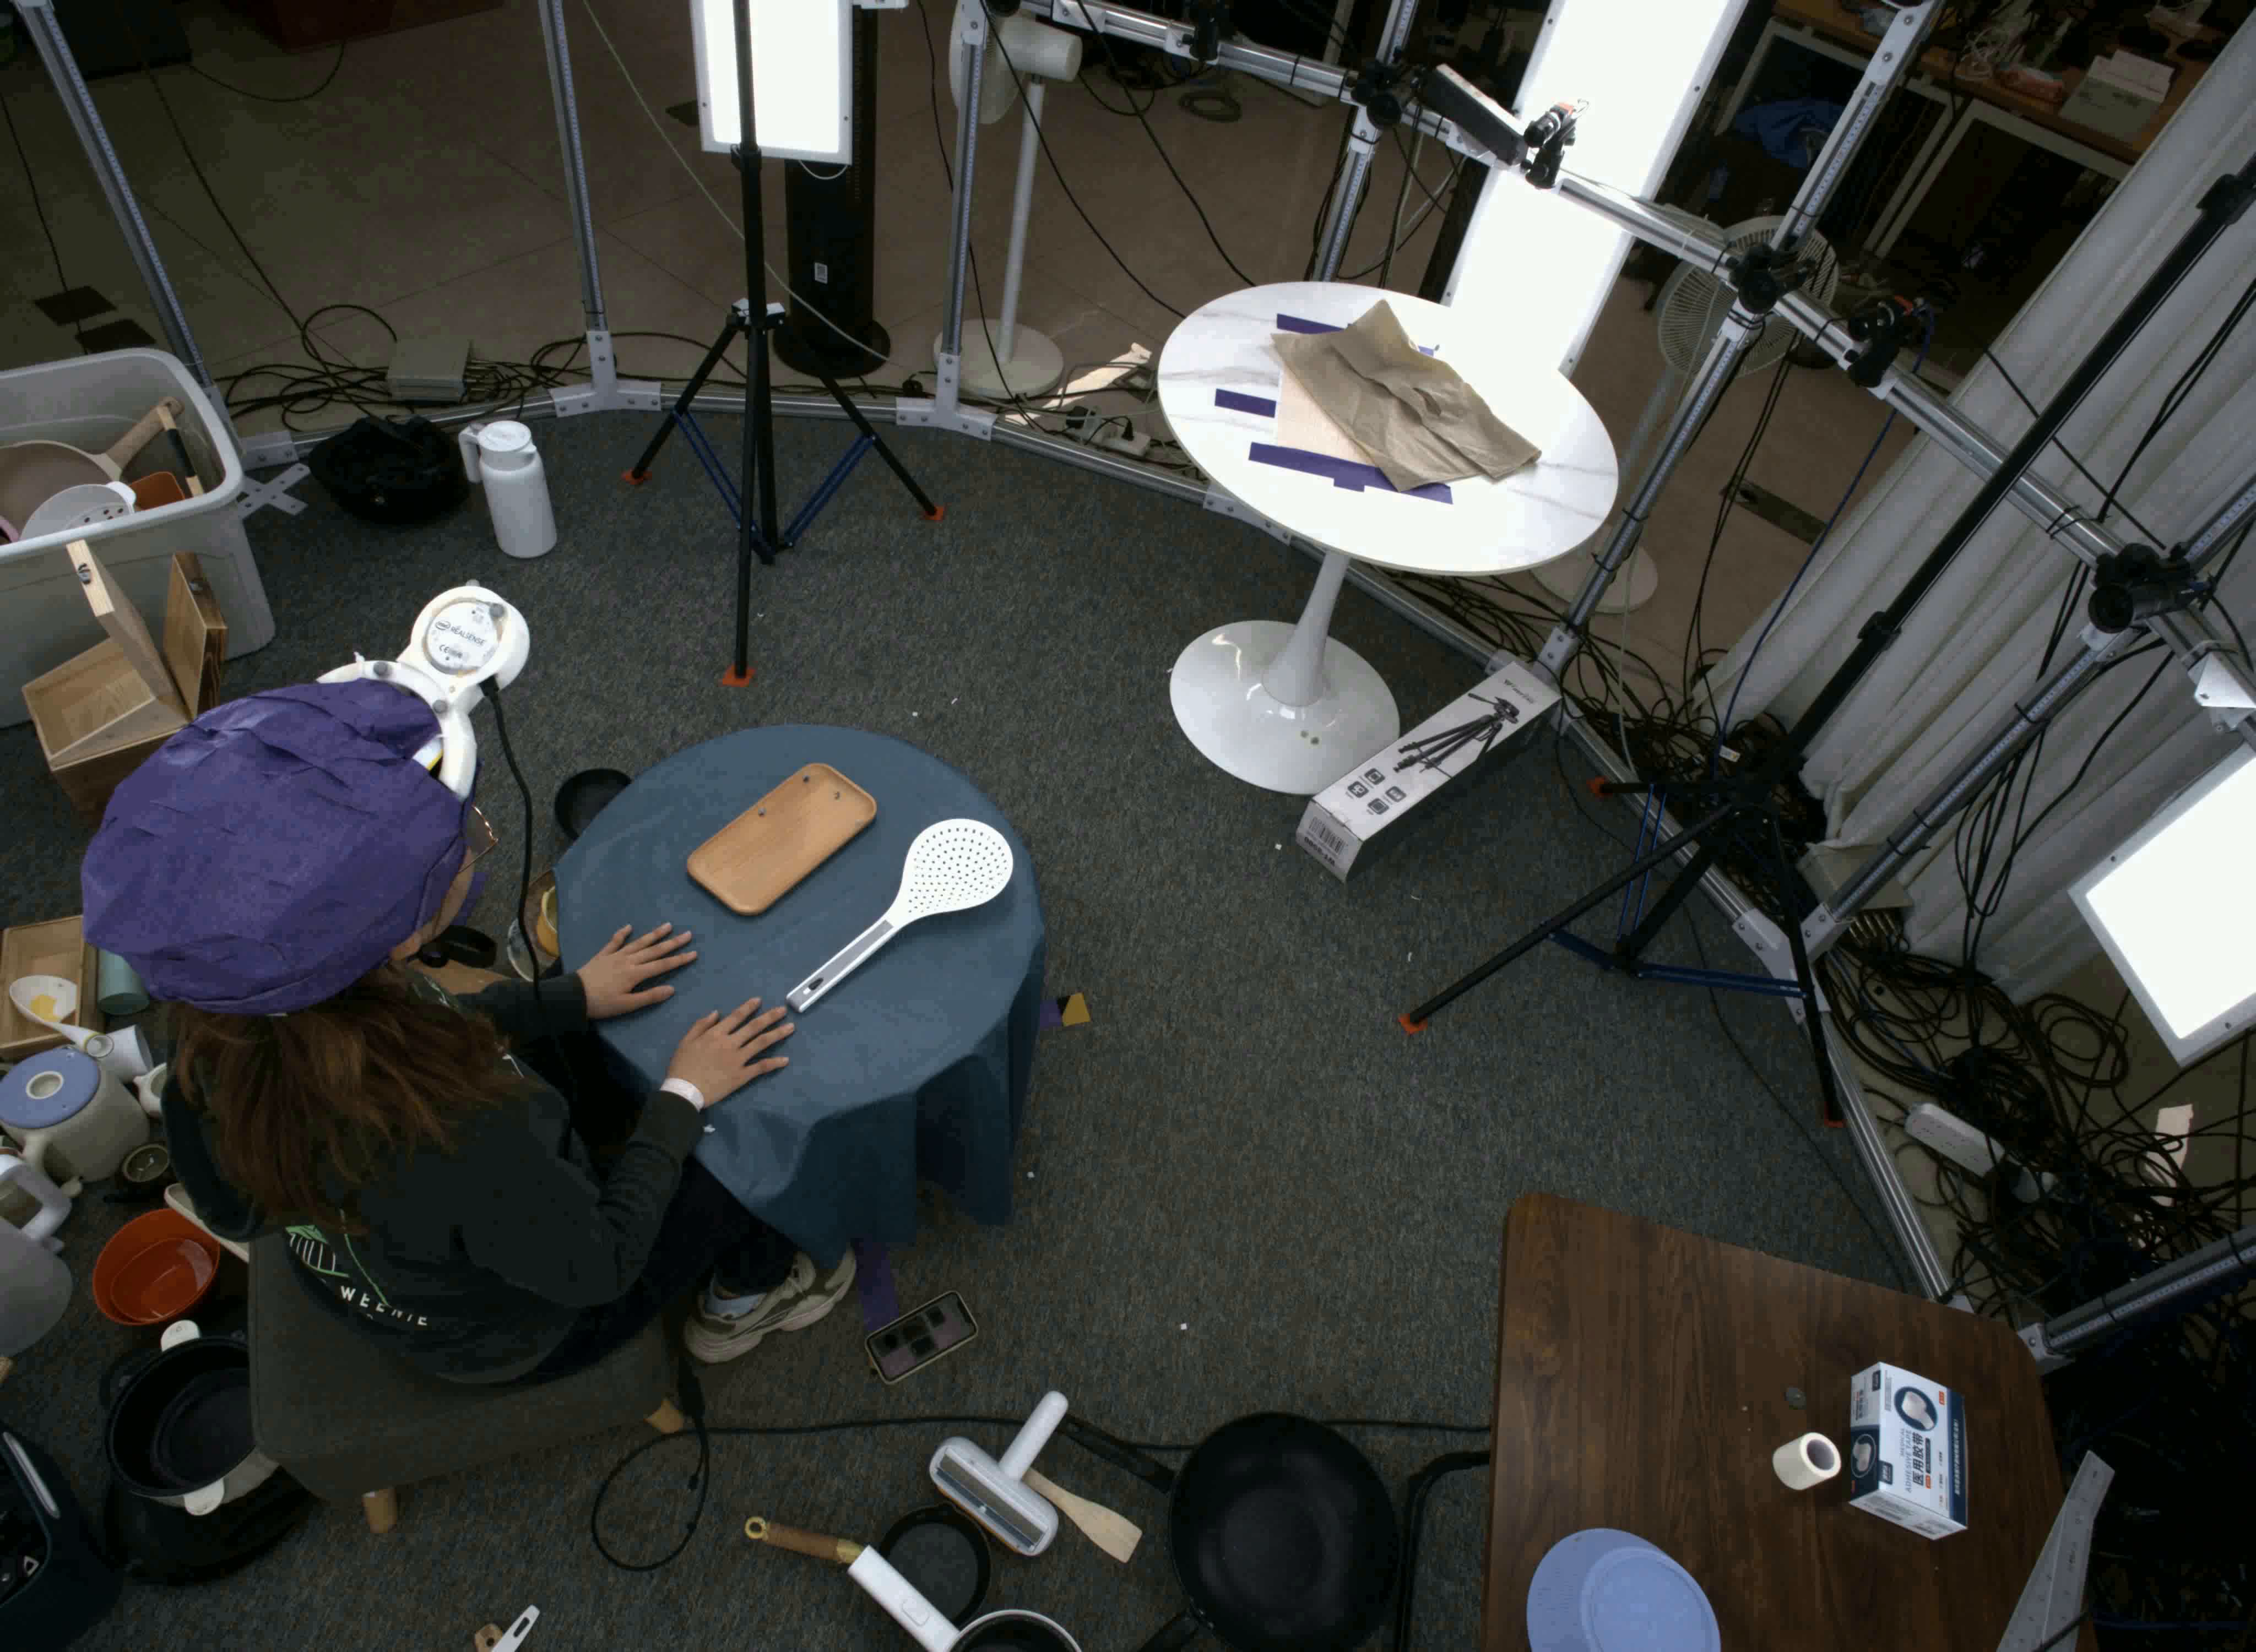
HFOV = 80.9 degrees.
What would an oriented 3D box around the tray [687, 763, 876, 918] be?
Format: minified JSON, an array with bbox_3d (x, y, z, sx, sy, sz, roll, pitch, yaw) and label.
[{"bbox_3d":[-0.451,0.015,1.701,0.128,0.023,0.250,35,54,14],"label":"tray"}]

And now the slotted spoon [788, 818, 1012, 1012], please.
[{"bbox_3d":[-0.290,0.113,1.650,0.133,0.047,0.350,38,55,18],"label":"slotted spoon"}]
